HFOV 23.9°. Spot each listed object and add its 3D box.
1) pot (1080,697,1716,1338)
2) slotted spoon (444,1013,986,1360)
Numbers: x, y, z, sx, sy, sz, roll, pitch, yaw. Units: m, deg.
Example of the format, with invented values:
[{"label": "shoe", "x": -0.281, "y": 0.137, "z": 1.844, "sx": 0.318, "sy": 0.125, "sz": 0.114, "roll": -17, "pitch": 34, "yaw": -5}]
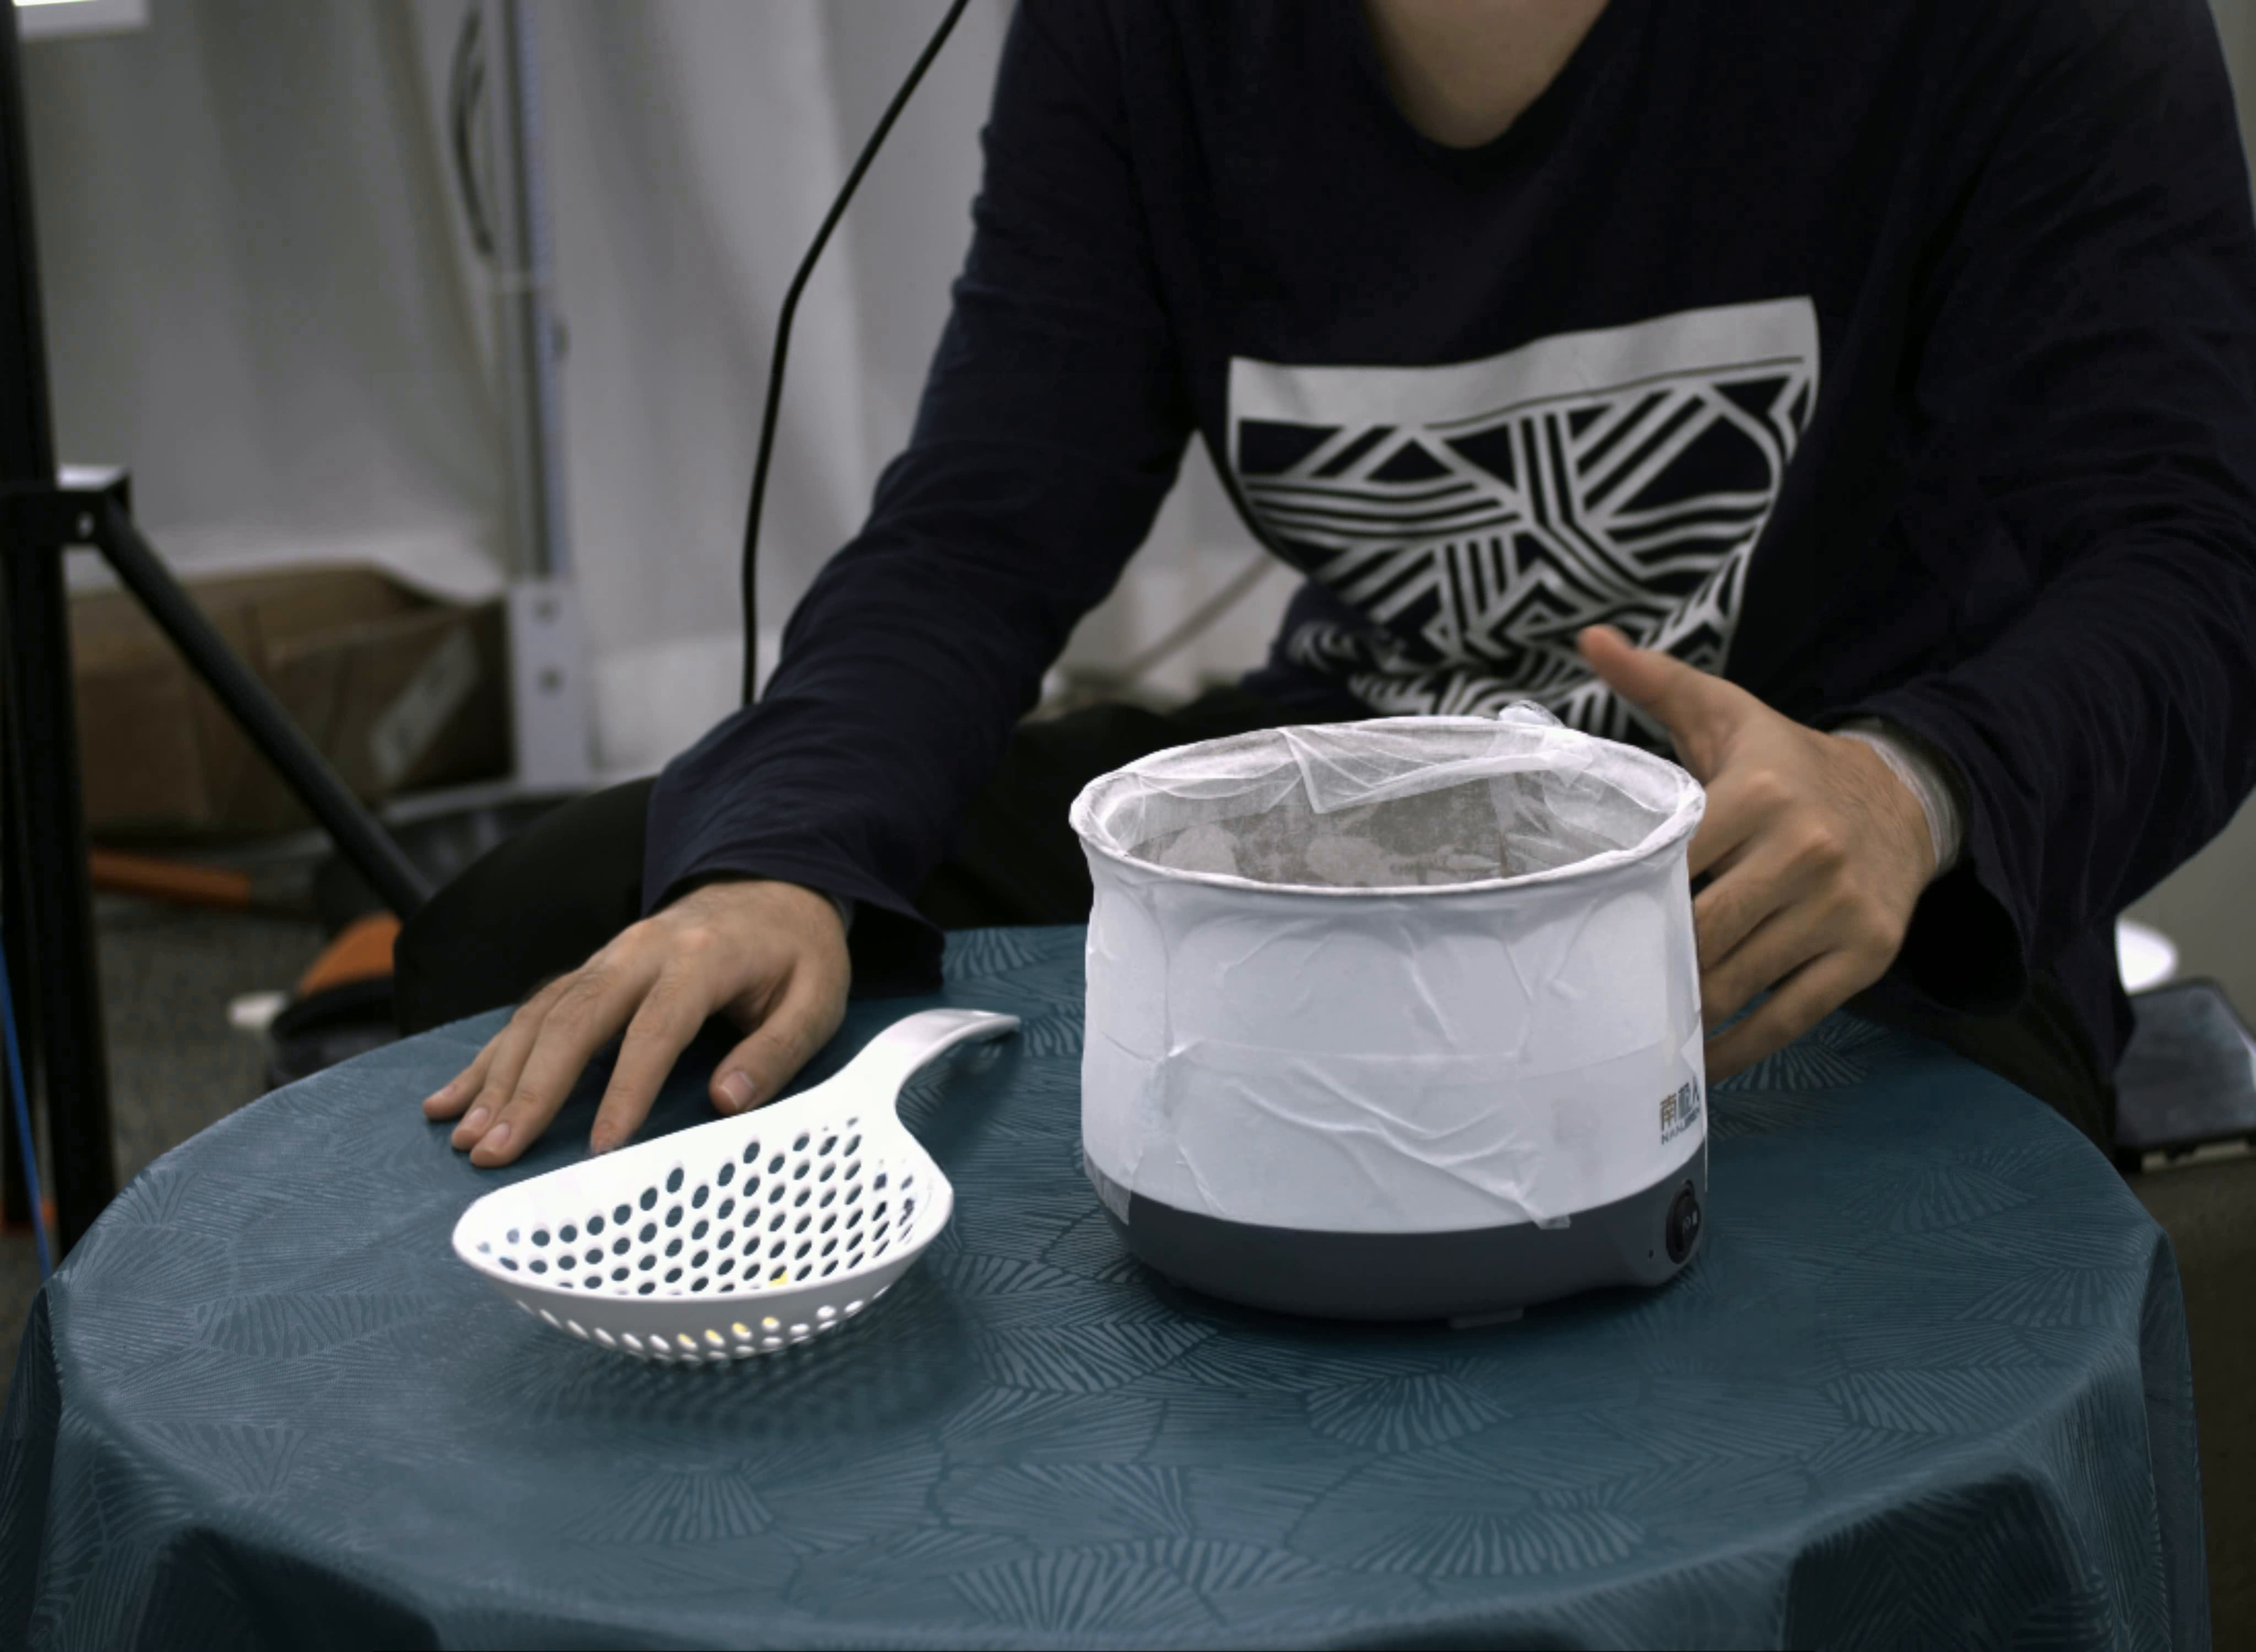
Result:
[{"label": "pot", "x": 0.086, "y": 0.047, "z": 1.514, "sx": 0.181, "sy": 0.136, "sz": 0.230, "roll": 8, "pitch": 19, "yaw": 25}, {"label": "slotted spoon", "x": -0.087, "y": 0.091, "z": 1.553, "sx": 0.138, "sy": 0.050, "sz": 0.345, "roll": 1, "pitch": 17, "yaw": 15}]
